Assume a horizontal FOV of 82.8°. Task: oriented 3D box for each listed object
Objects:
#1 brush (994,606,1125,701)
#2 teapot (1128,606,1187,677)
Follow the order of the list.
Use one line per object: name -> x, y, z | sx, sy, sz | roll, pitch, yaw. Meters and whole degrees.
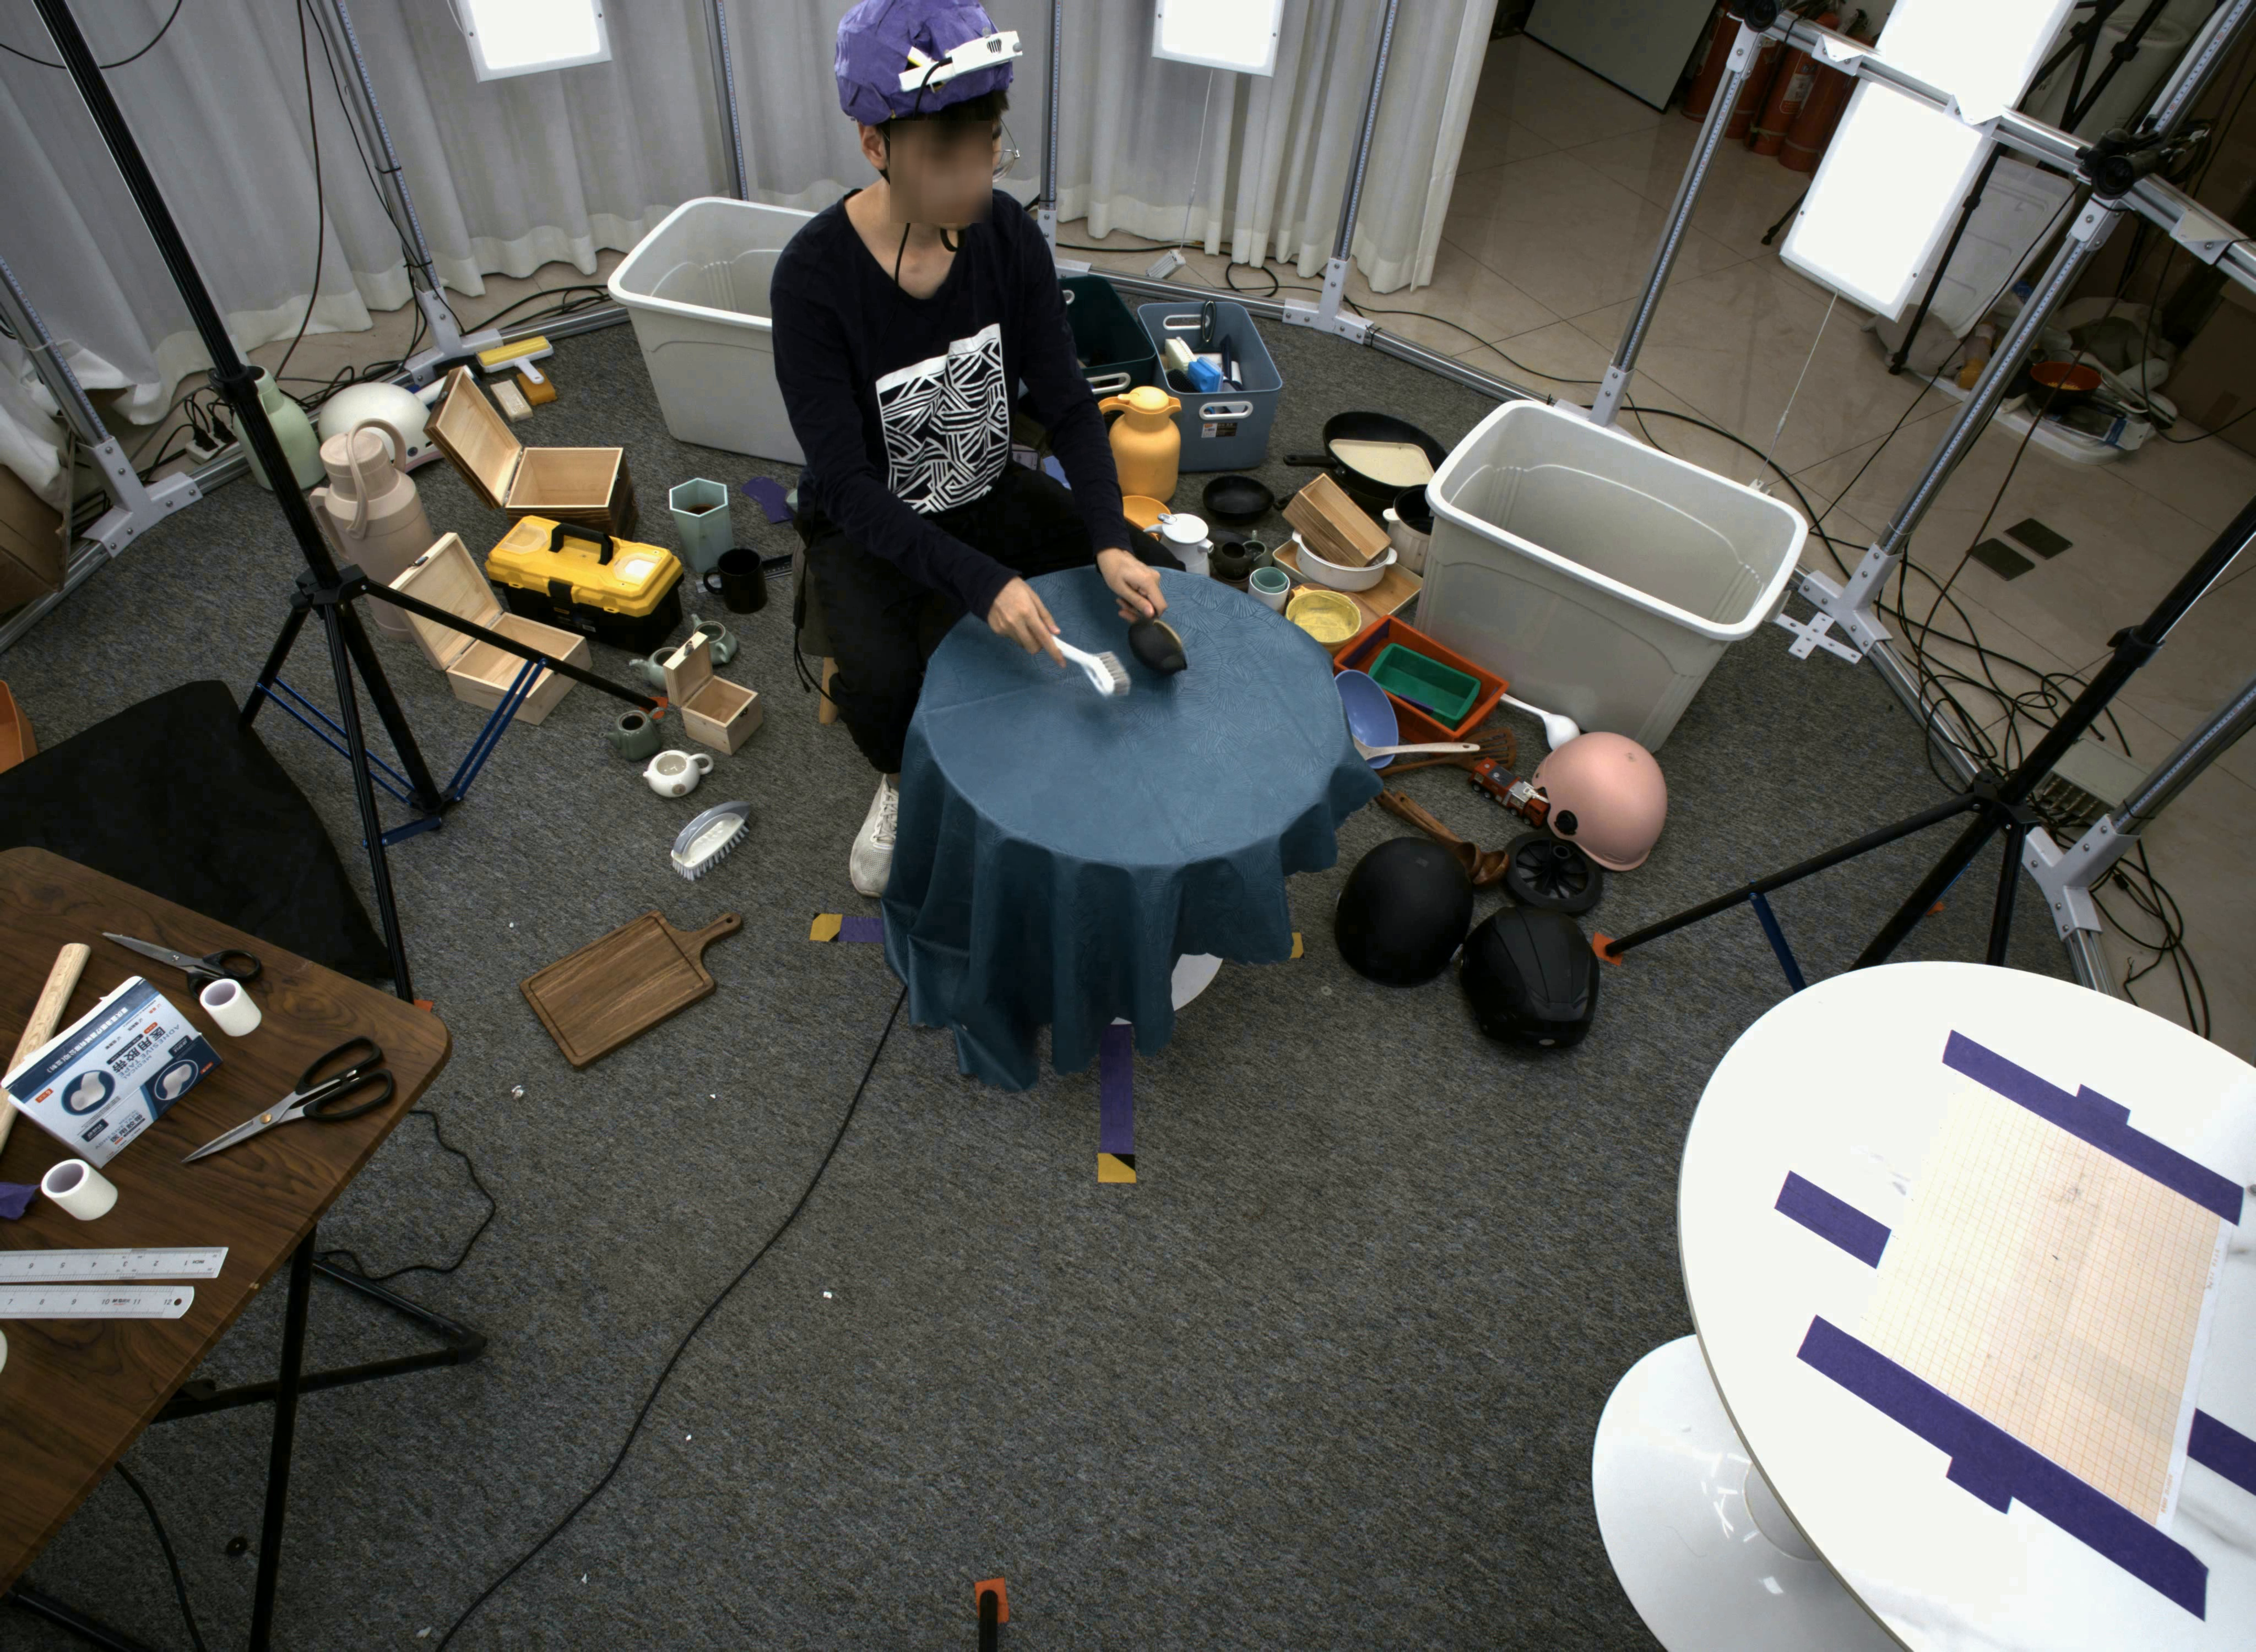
brush -> -0.094, -0.253, 1.806 | 0.050, 0.033, 0.247 | -37, 59, -24
teapot -> 0.040, -0.258, 1.838 | 0.090, 0.052, 0.136 | 17, 39, -50
